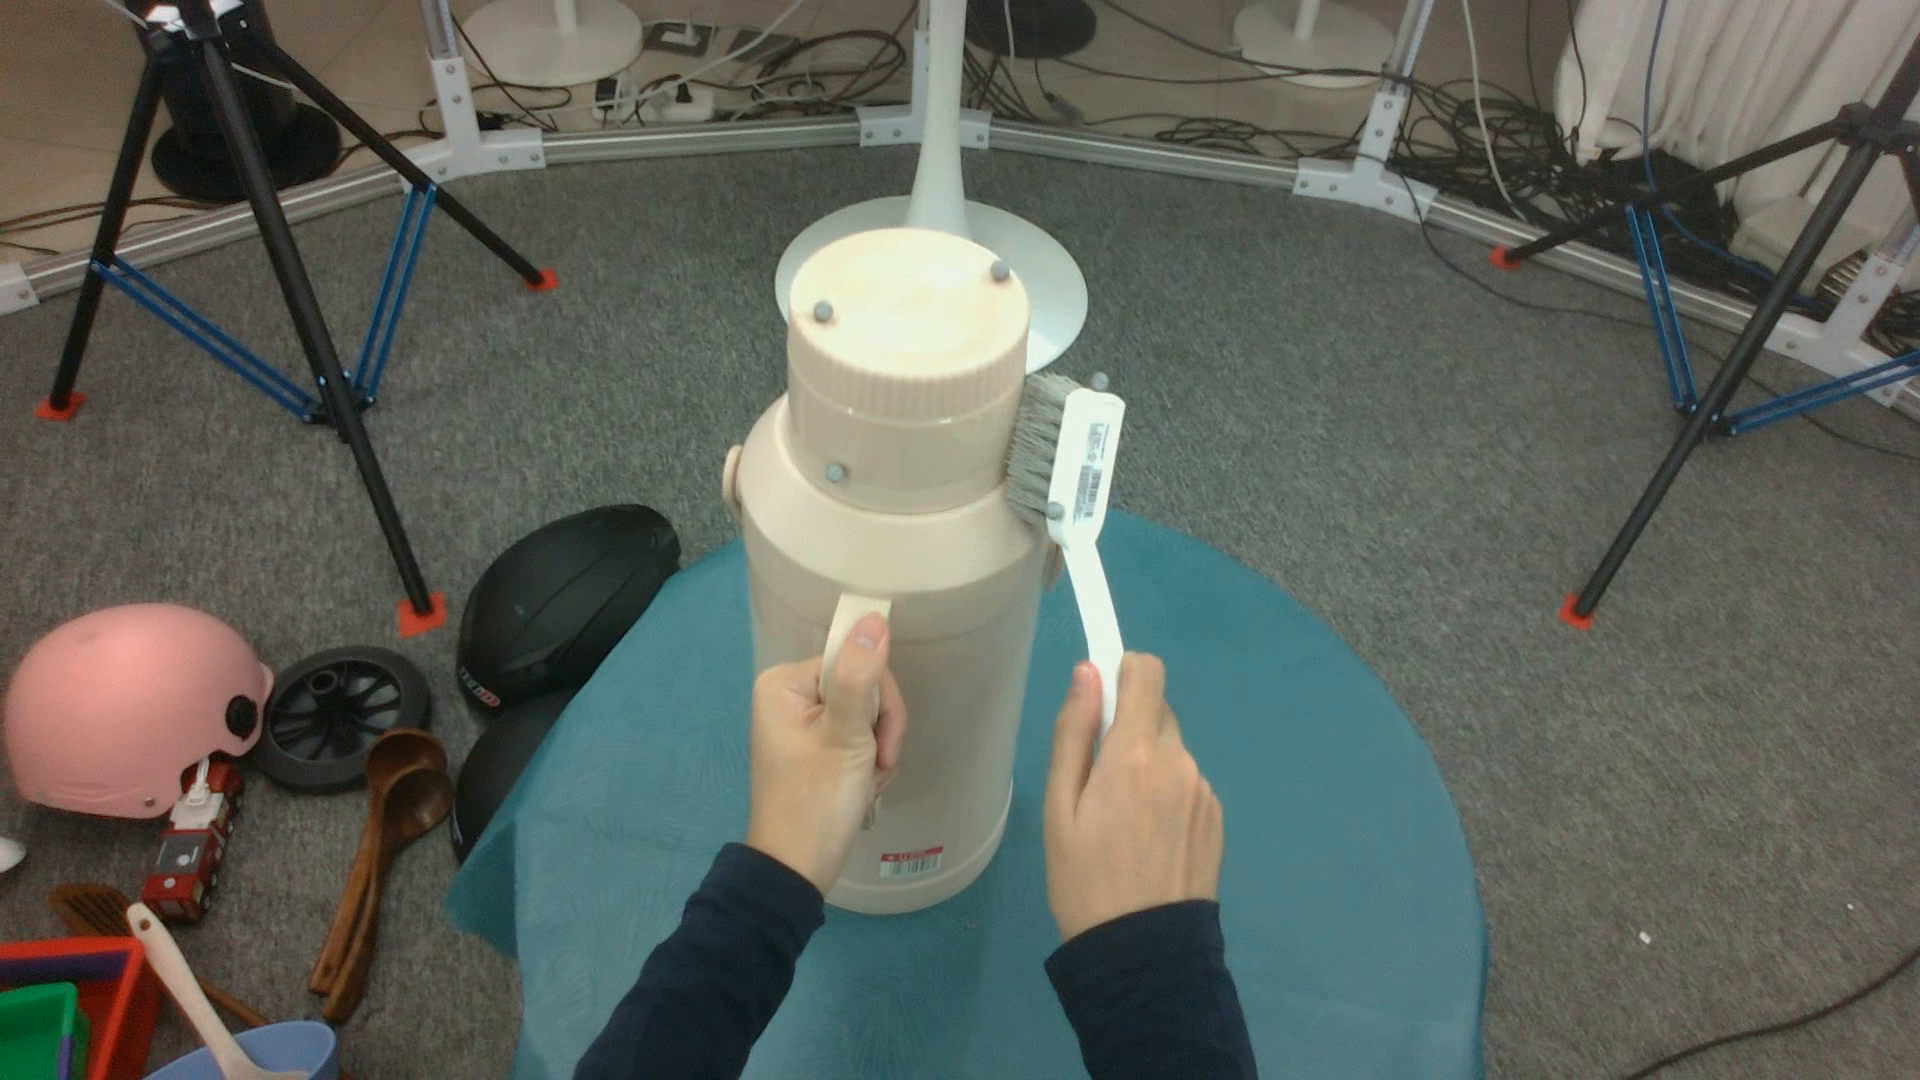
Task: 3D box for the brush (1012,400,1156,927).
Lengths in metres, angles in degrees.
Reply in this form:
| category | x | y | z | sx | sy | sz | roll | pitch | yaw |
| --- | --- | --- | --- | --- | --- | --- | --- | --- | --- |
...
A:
| category | x | y | z | sx | sy | sz | roll | pitch | yaw |
| --- | --- | --- | --- | --- | --- | --- | --- | --- | --- |
| brush | 0.057 | 0.056 | 0.636 | 0.050 | 0.243 | 0.034 | -4 | 2 | 31 |

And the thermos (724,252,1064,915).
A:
| category | x | y | z | sx | sy | sz | roll | pitch | yaw |
| --- | --- | --- | --- | --- | --- | --- | --- | --- | --- |
| thermos | -0.042 | 0.049 | 0.742 | 0.175 | 0.404 | 0.208 | 10 | 47 | 2 |
